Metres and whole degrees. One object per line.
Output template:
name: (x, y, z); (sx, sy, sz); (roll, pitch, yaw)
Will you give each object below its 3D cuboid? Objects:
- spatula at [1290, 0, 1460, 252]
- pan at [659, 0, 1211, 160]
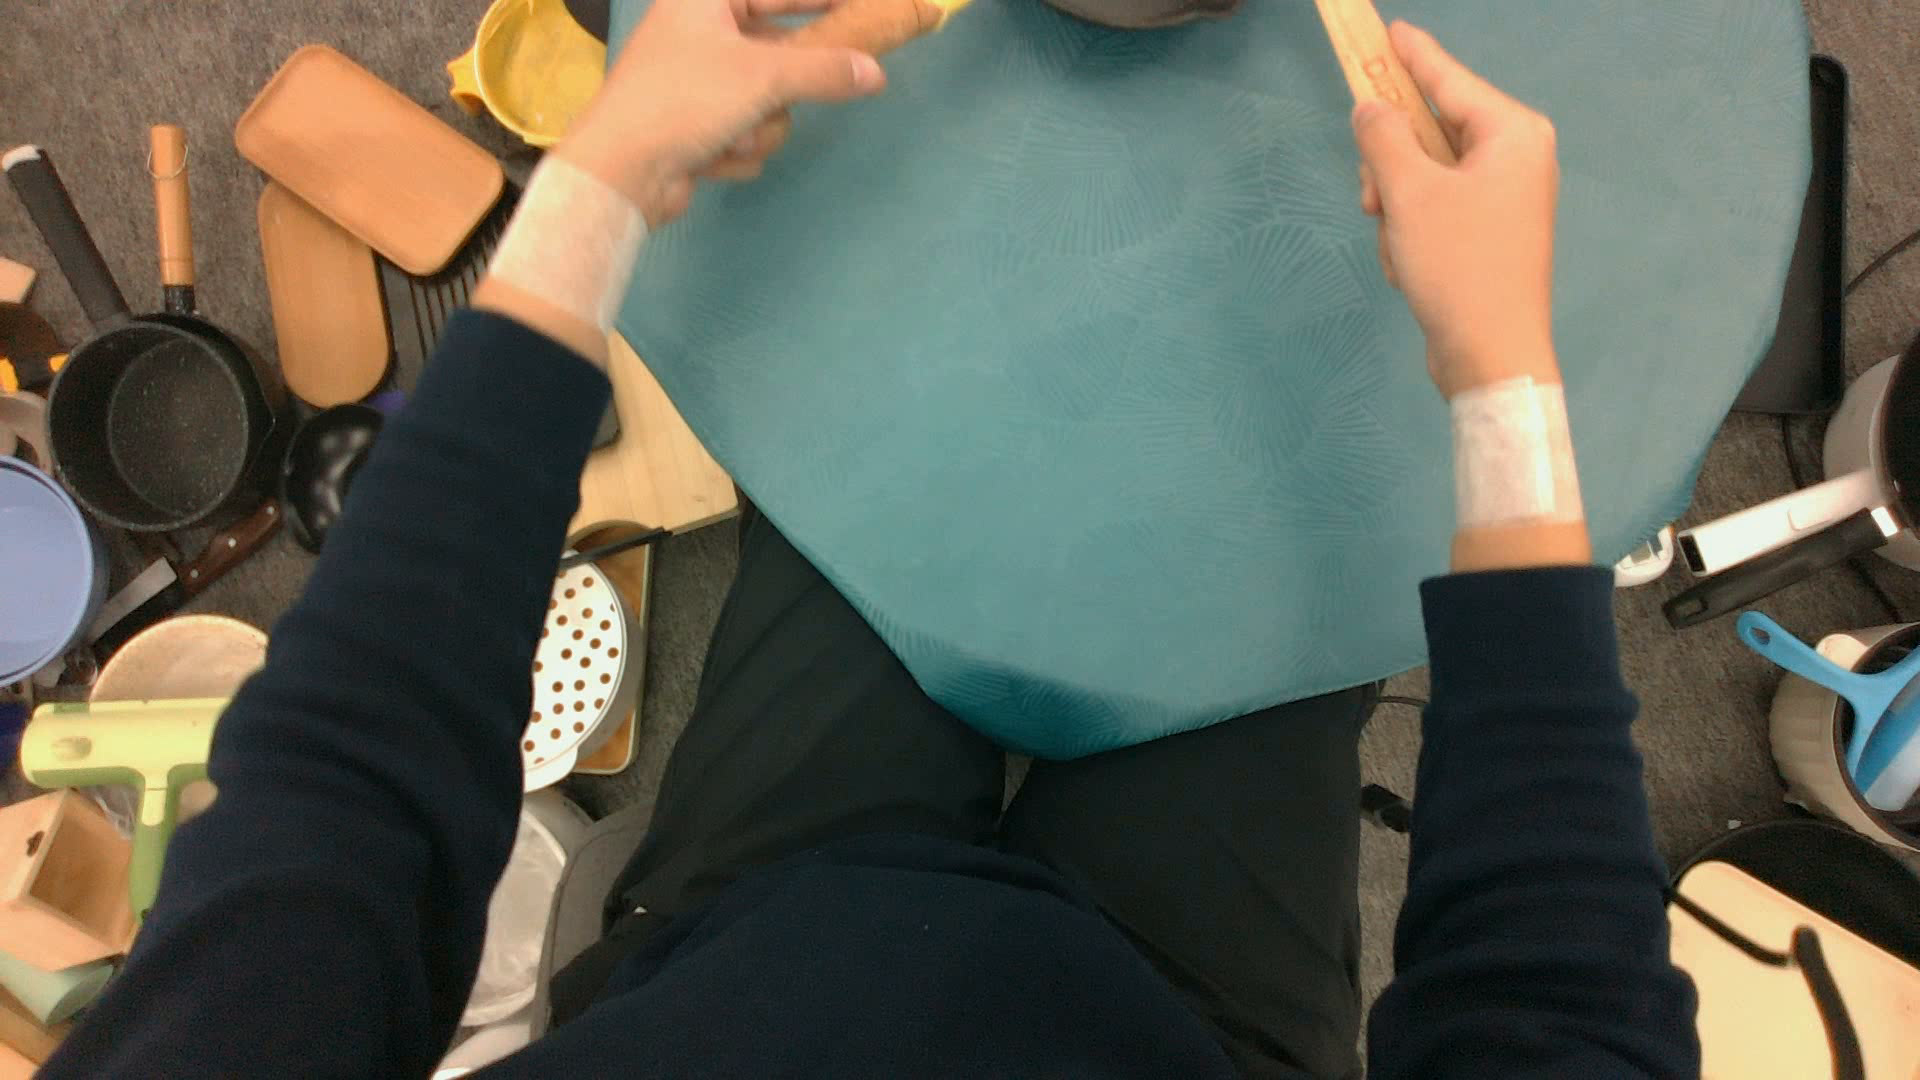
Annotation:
spatula: (0.141, -0.267, 0.605); (0.080, 0.016, 0.328); (-20, 73, 2)
pan: (-0.005, -0.267, 0.646); (0.325, 0.049, 0.169); (-36, 87, -13)
